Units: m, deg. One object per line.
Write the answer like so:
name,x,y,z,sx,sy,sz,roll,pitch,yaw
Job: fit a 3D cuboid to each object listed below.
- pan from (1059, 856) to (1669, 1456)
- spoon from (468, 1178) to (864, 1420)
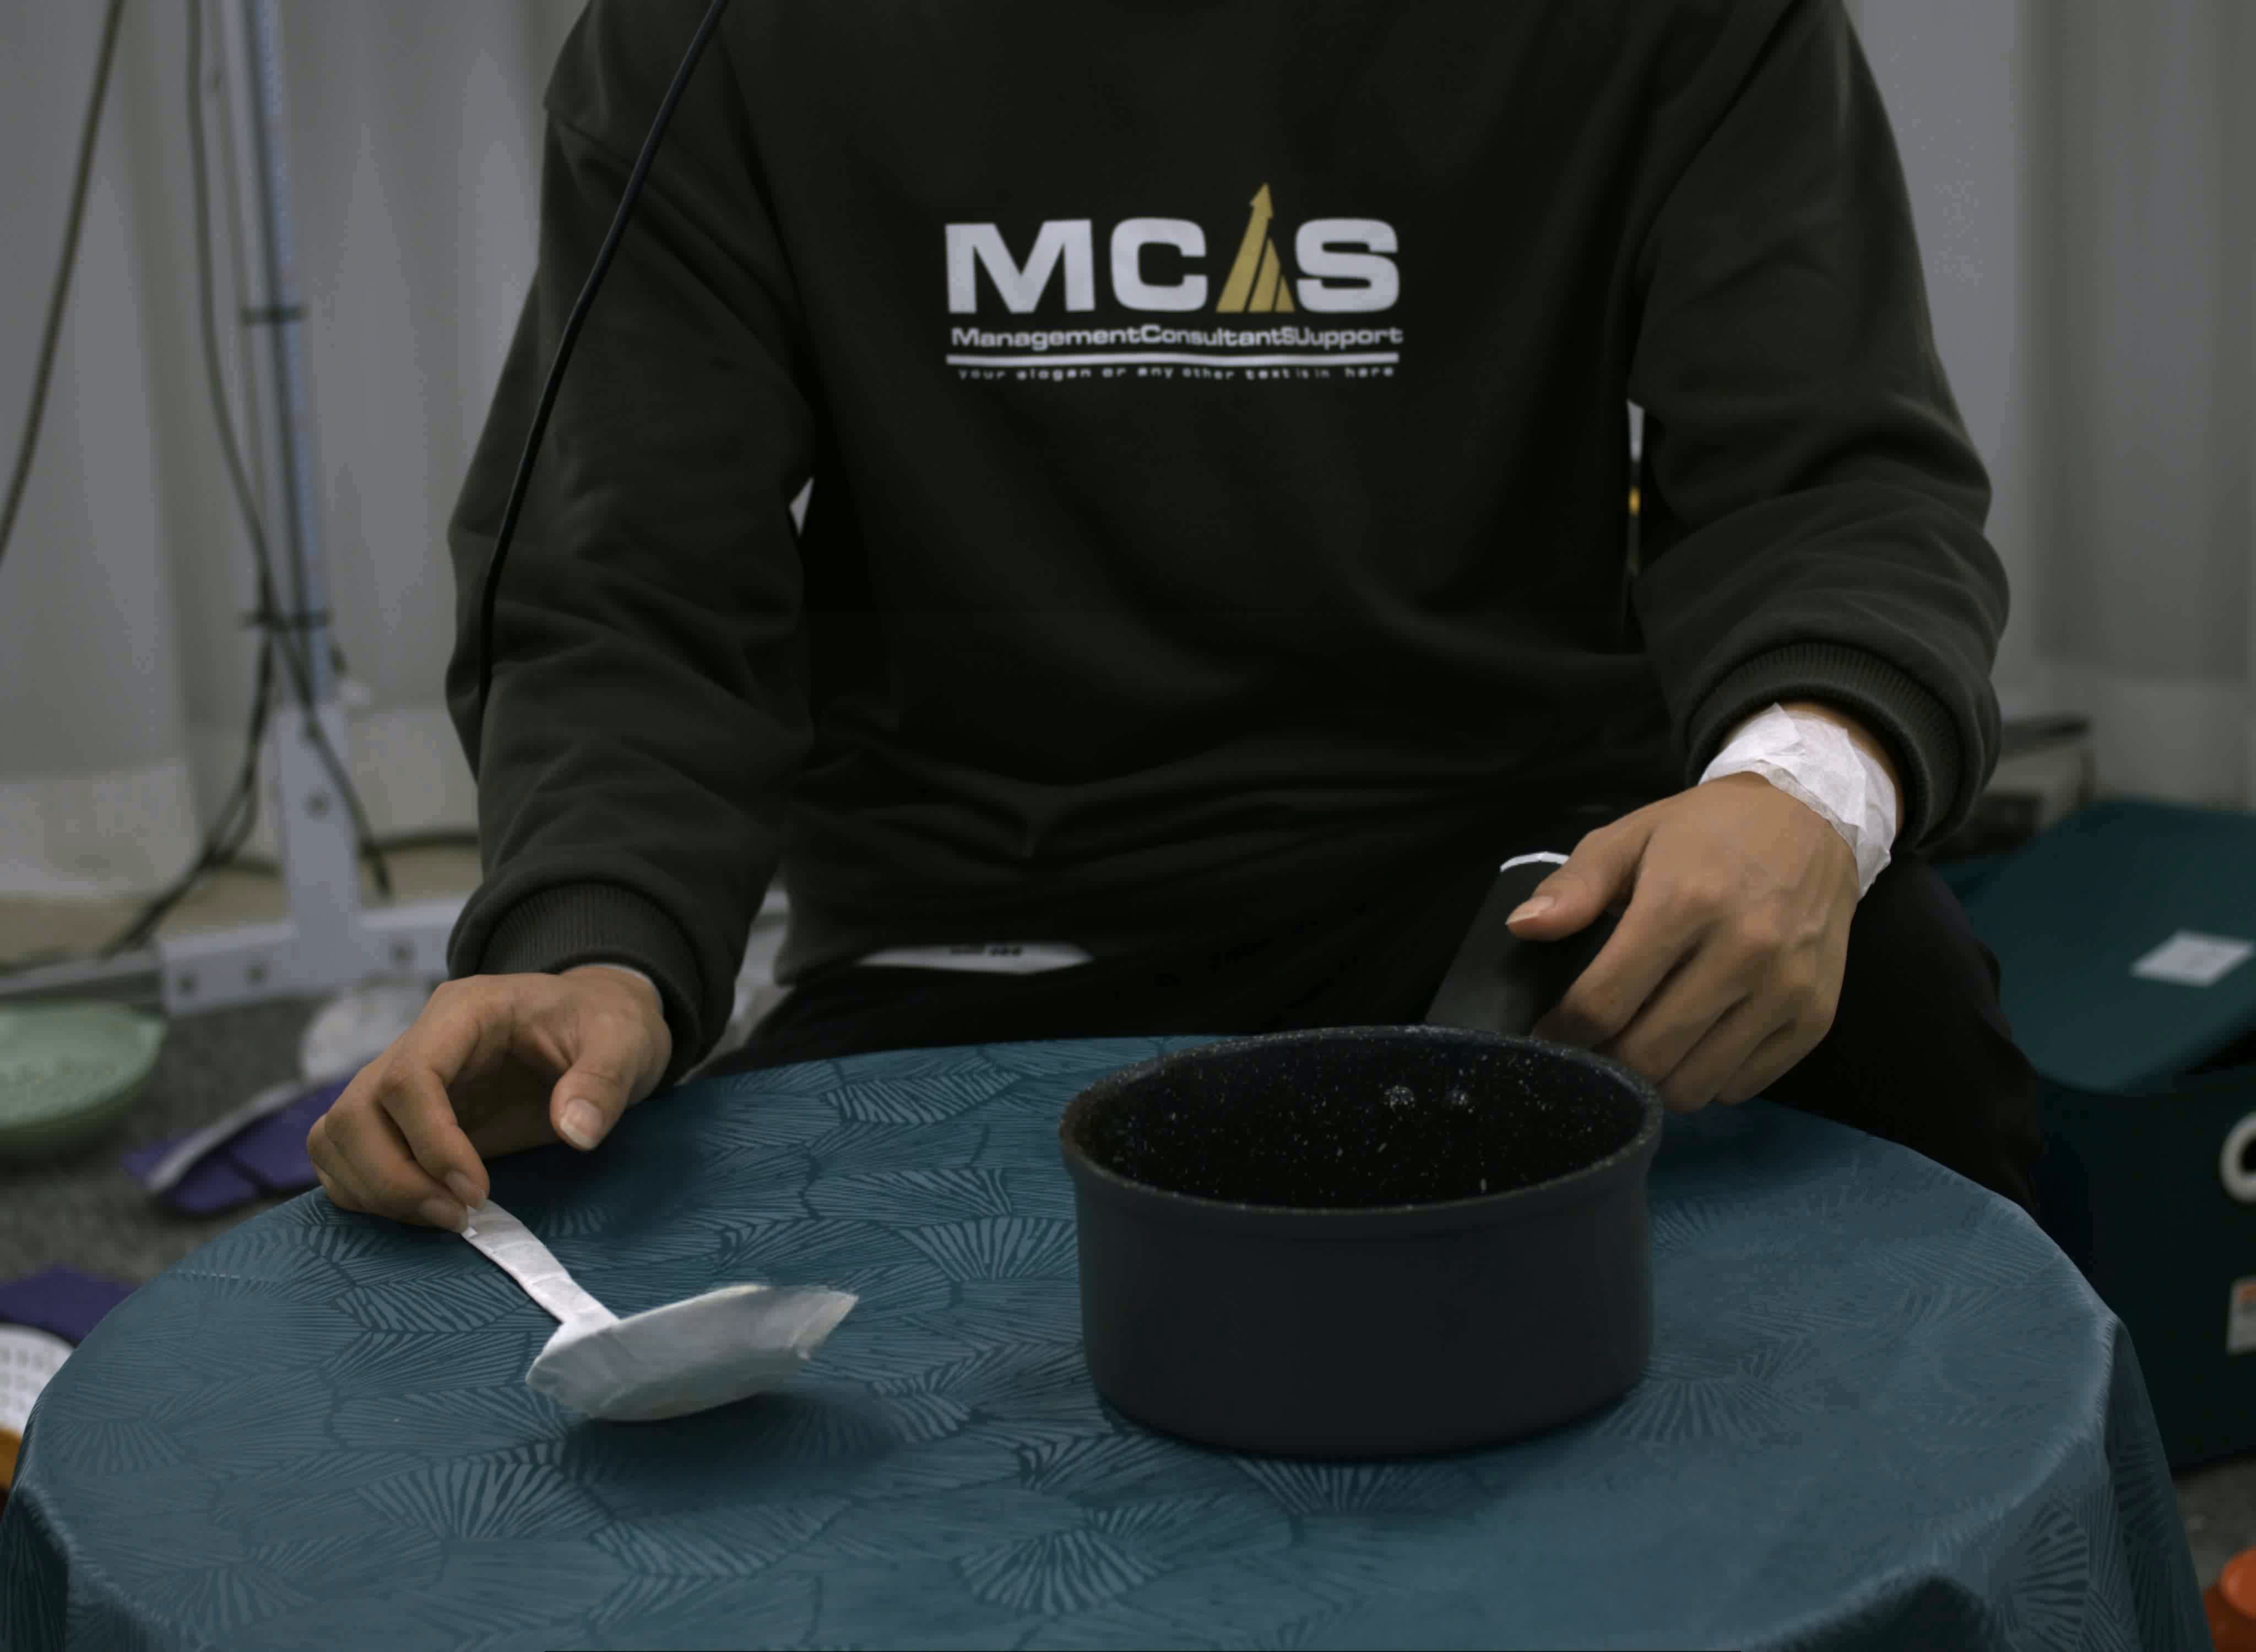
pan,0.094,0.094,1.618,0.172,0.086,0.330,4,17,20
spoon,-0.153,0.121,1.613,0.100,0.059,0.279,-6,15,-19
